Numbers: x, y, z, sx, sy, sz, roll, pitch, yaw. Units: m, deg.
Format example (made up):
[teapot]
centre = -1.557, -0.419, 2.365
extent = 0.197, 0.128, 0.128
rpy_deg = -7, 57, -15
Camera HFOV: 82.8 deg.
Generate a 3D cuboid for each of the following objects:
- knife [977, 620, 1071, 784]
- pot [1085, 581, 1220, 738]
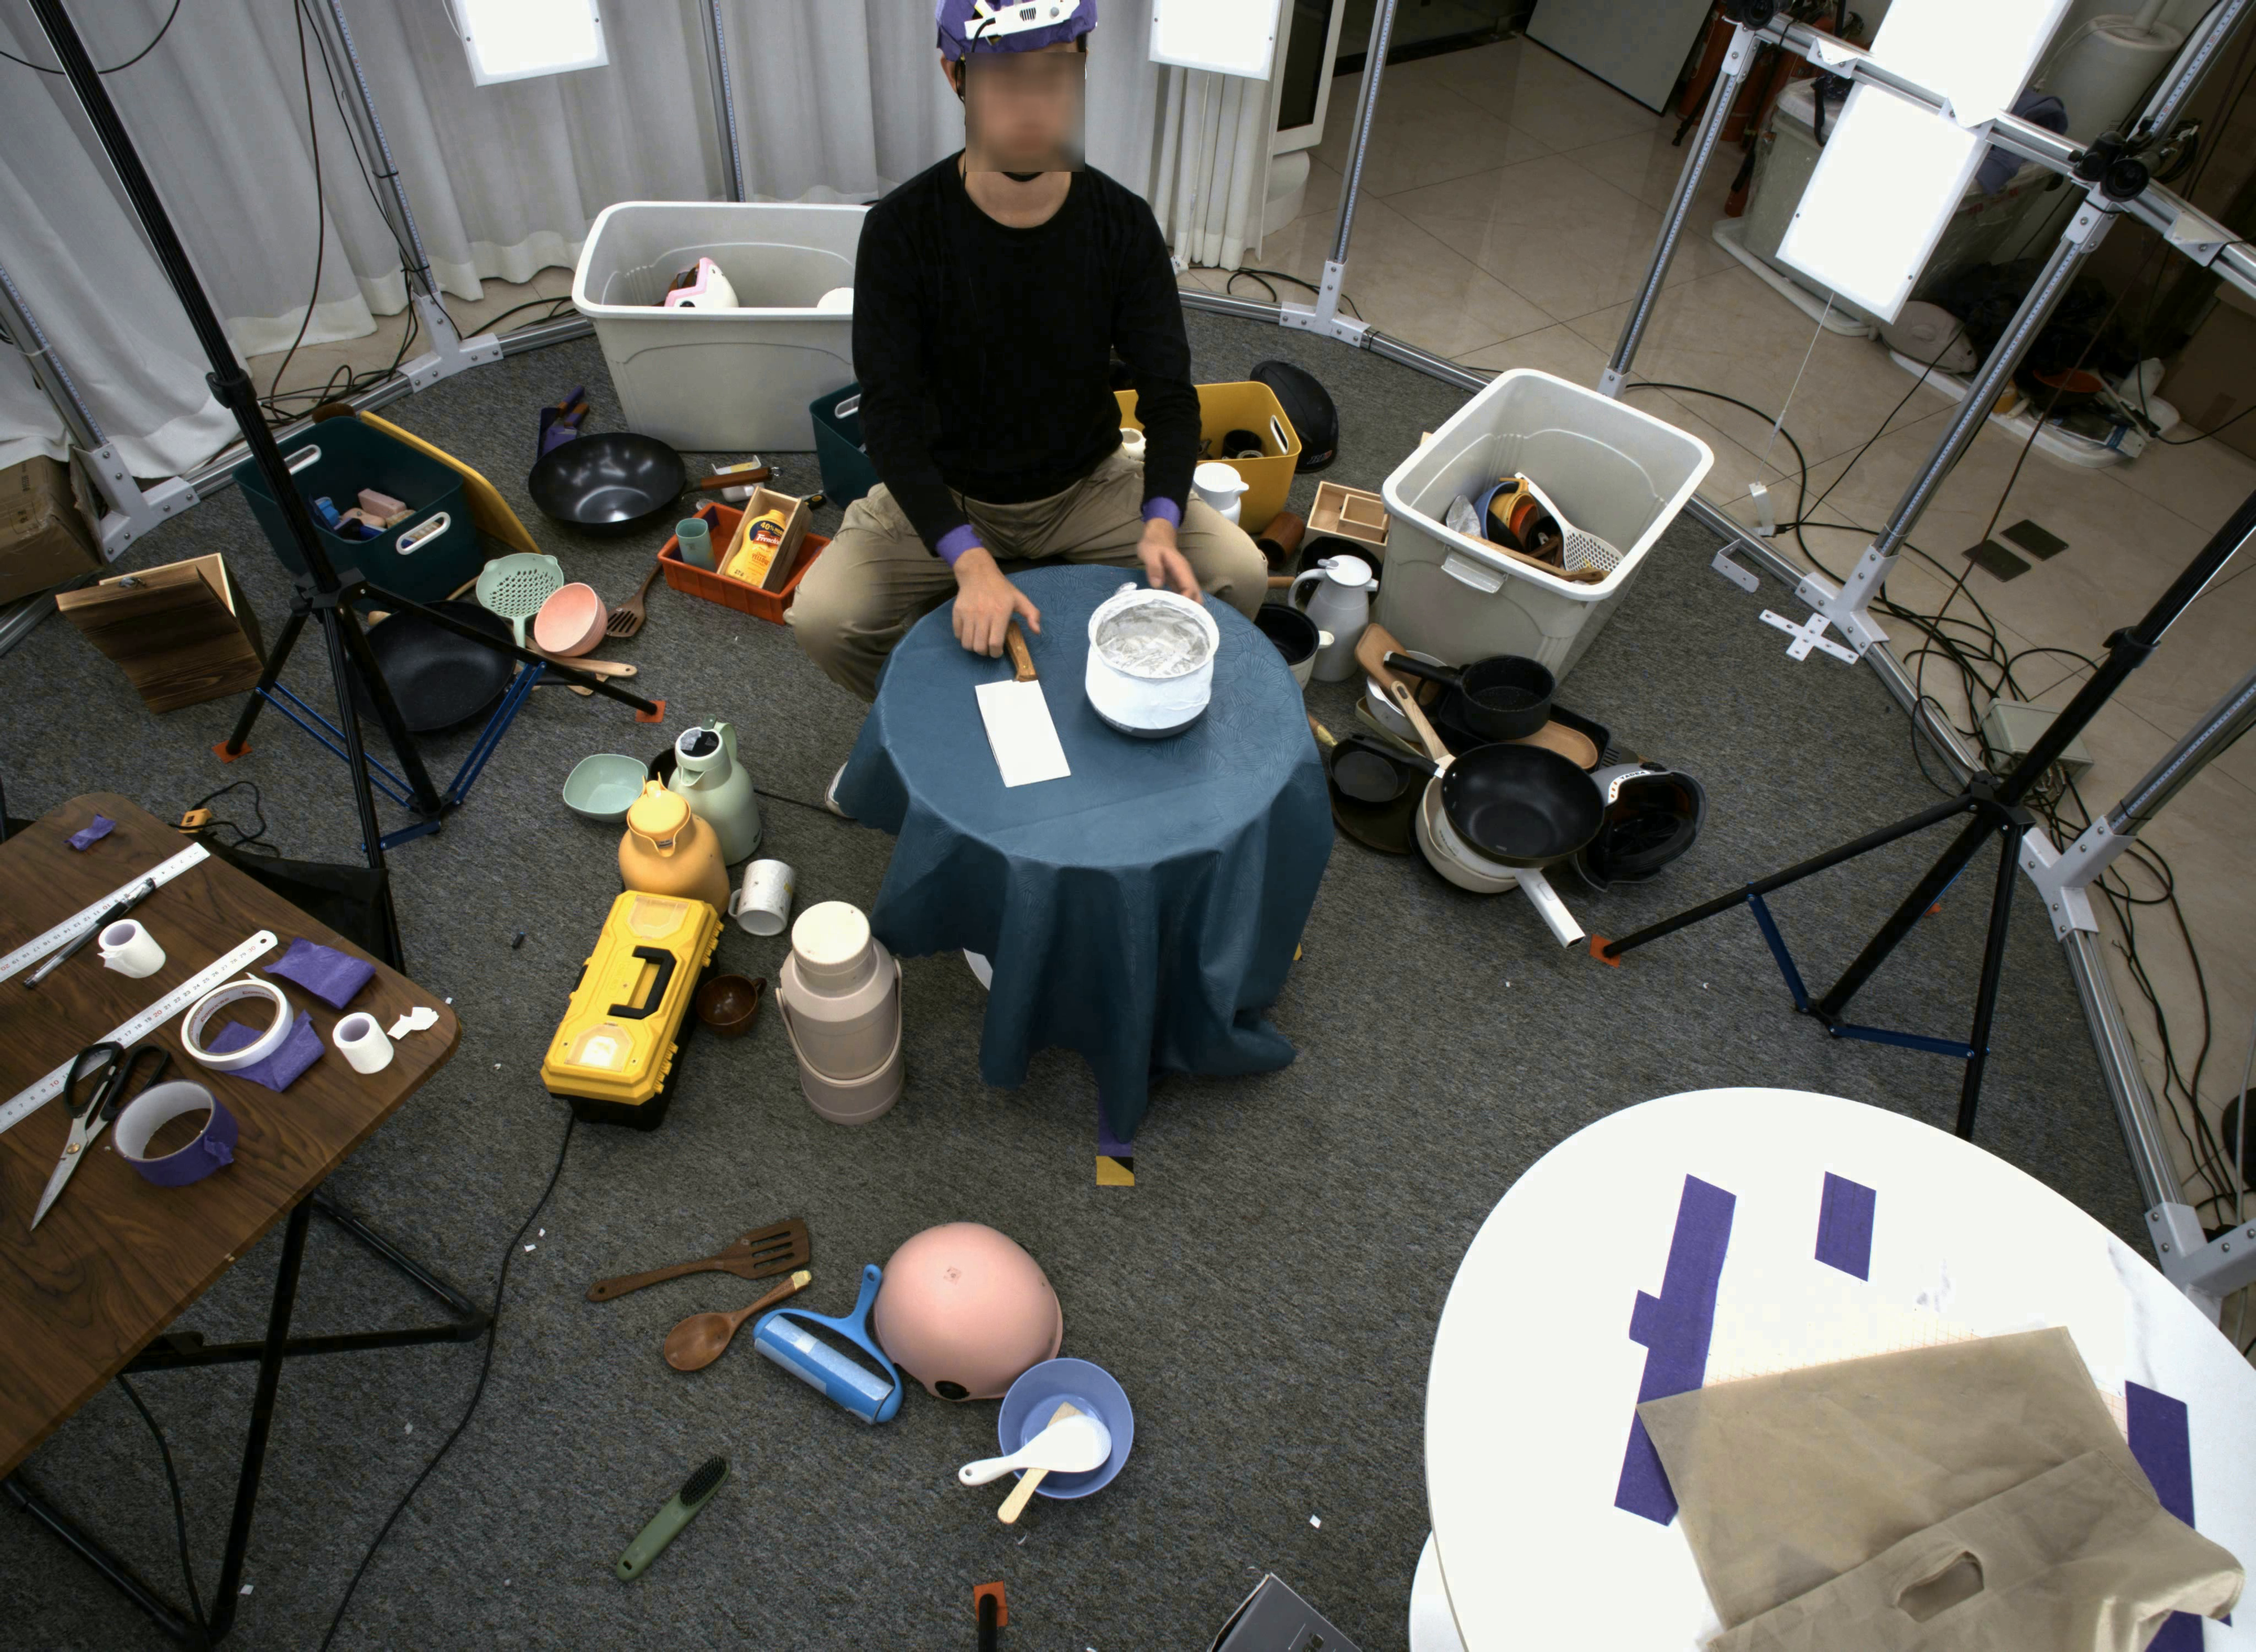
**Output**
[knife]
centre = -0.160, -0.177, 1.804
extent = 0.093, 0.020, 0.313
rpy_deg = -10, 52, -12
[pot]
centre = 0.022, -0.242, 1.789
extent = 0.179, 0.133, 0.239
rpy_deg = -13, 52, -15
